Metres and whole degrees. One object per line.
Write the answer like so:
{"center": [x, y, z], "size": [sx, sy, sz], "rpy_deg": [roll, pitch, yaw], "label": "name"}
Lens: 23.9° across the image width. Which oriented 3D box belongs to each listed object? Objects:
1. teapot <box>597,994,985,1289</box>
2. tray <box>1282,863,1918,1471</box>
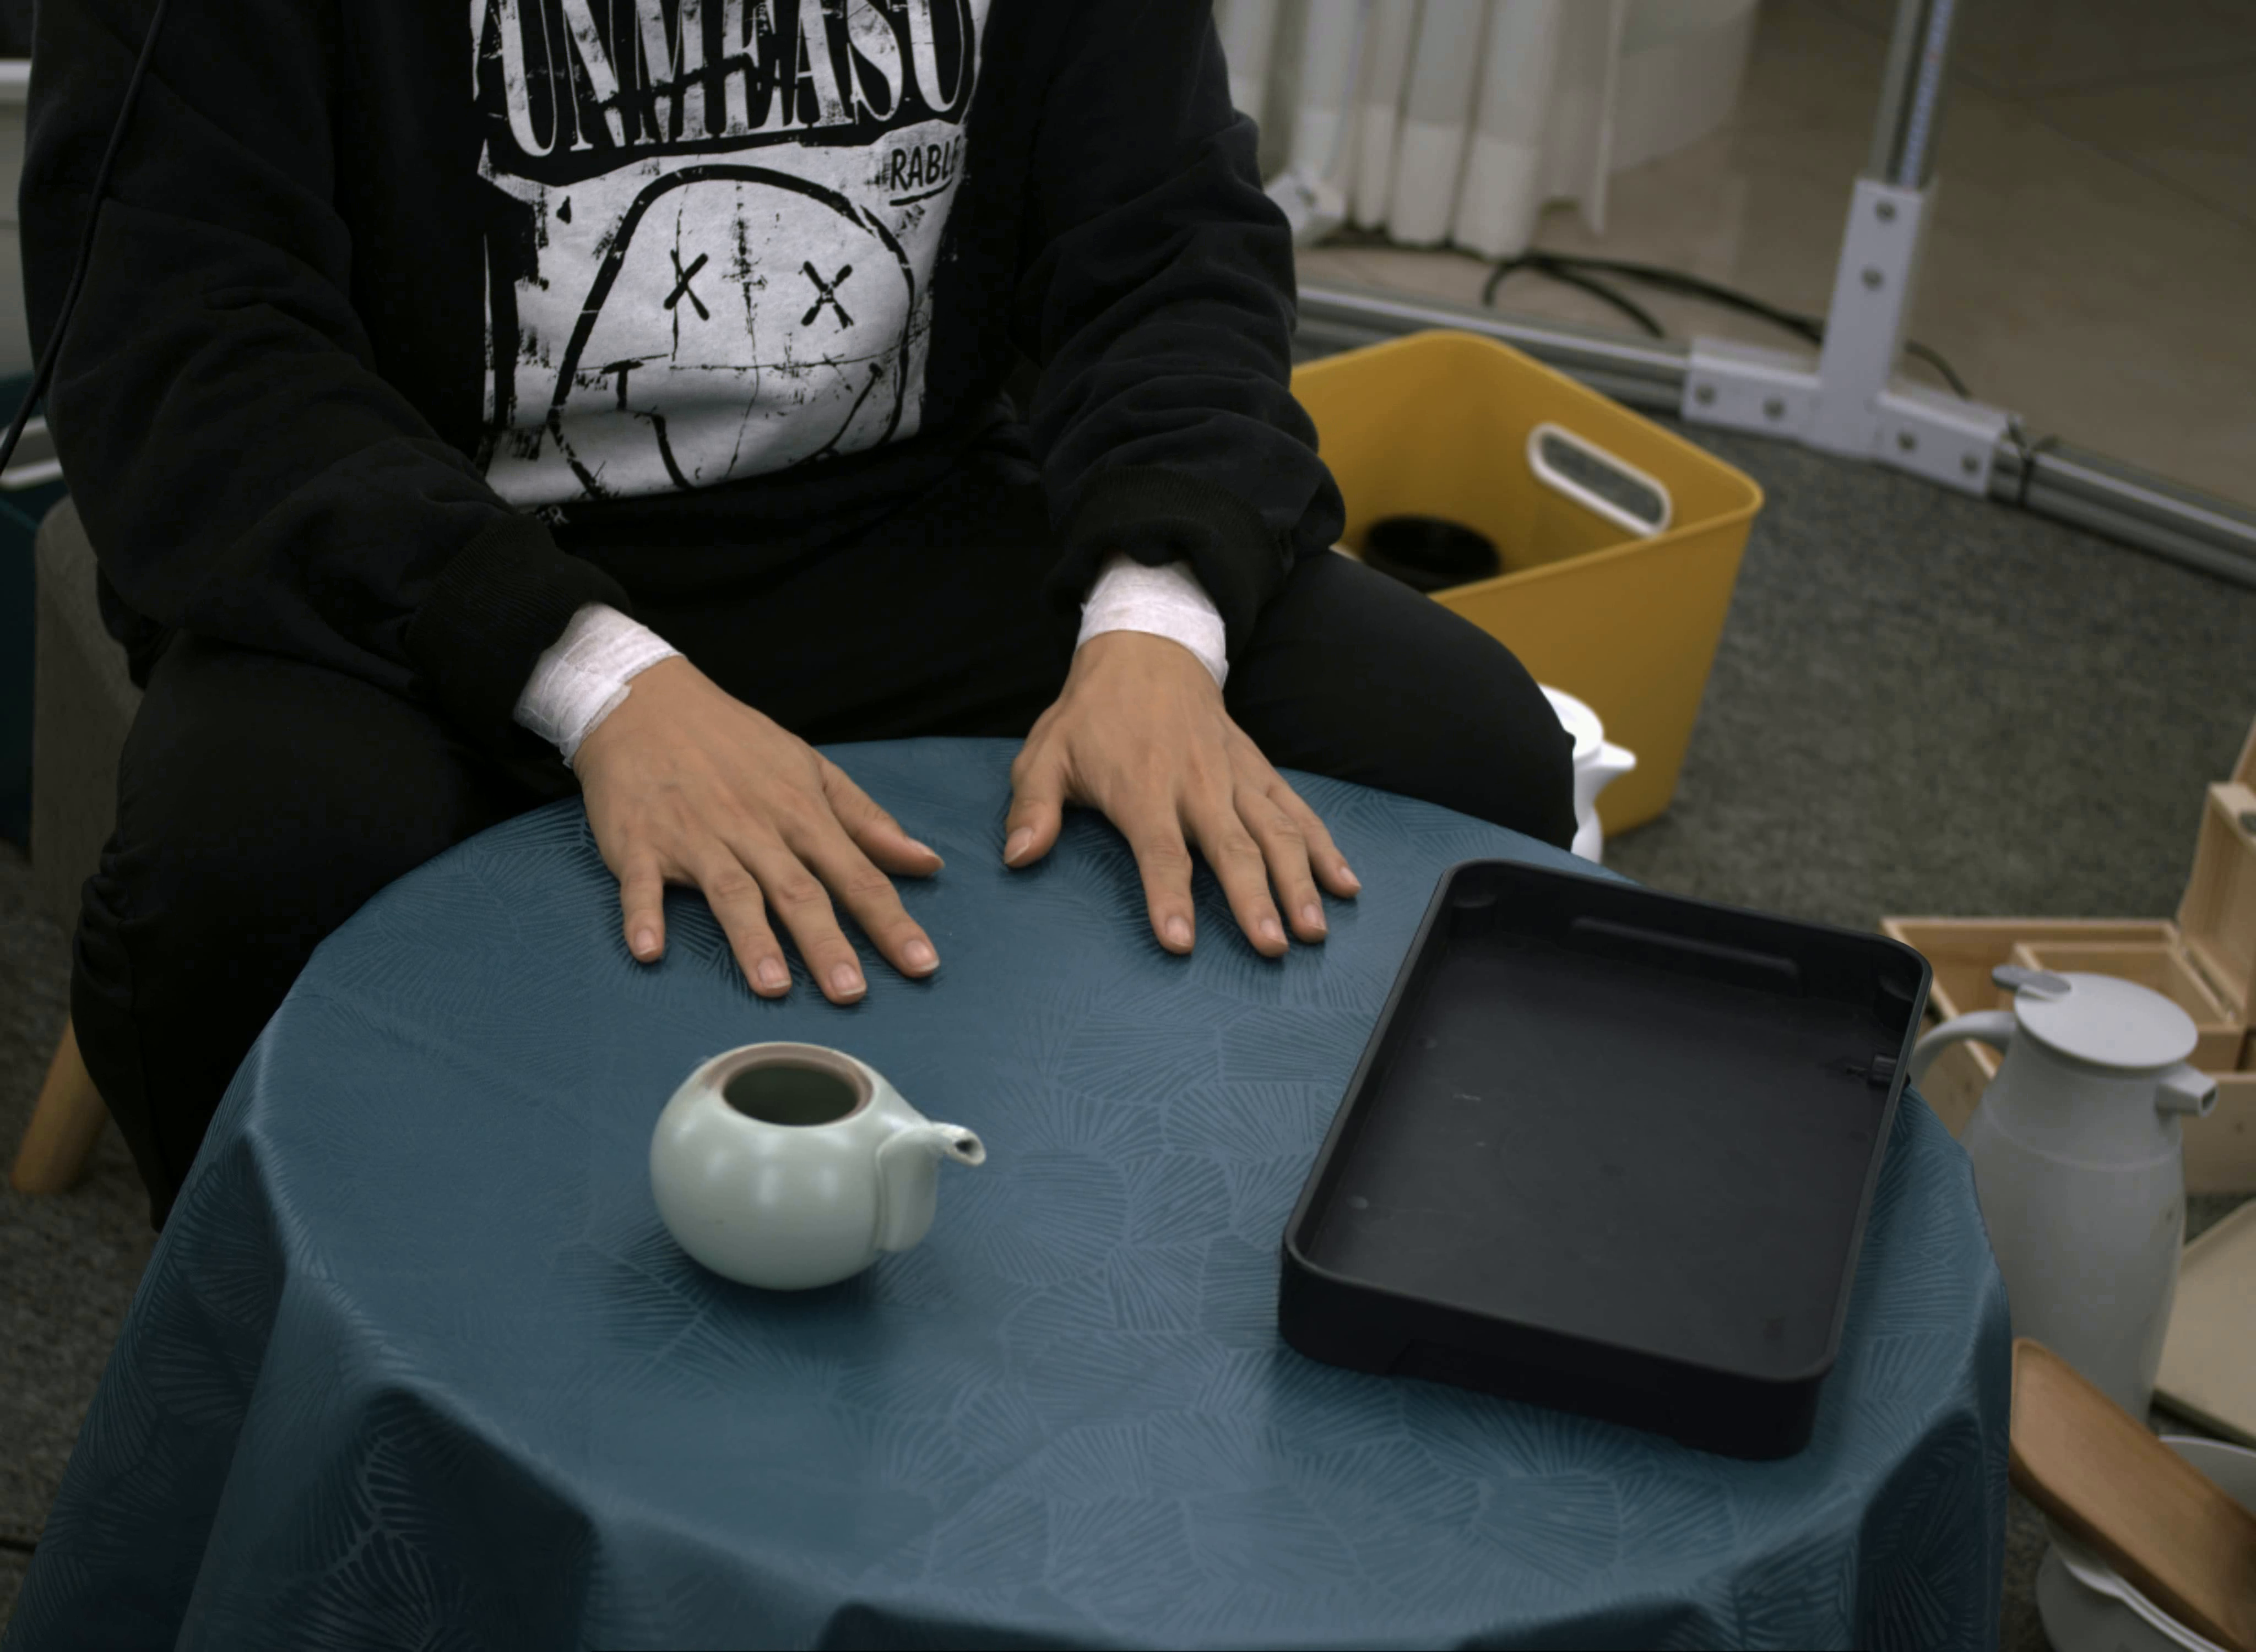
{"center": [-0.112, 0.109, 1.729], "size": [0.144, 0.074, 0.088], "rpy_deg": [22, 30, 24], "label": "teapot"}
{"center": [0.167, 0.110, 1.830], "size": [0.184, 0.037, 0.319], "rpy_deg": [11, 27, 8], "label": "tray"}
